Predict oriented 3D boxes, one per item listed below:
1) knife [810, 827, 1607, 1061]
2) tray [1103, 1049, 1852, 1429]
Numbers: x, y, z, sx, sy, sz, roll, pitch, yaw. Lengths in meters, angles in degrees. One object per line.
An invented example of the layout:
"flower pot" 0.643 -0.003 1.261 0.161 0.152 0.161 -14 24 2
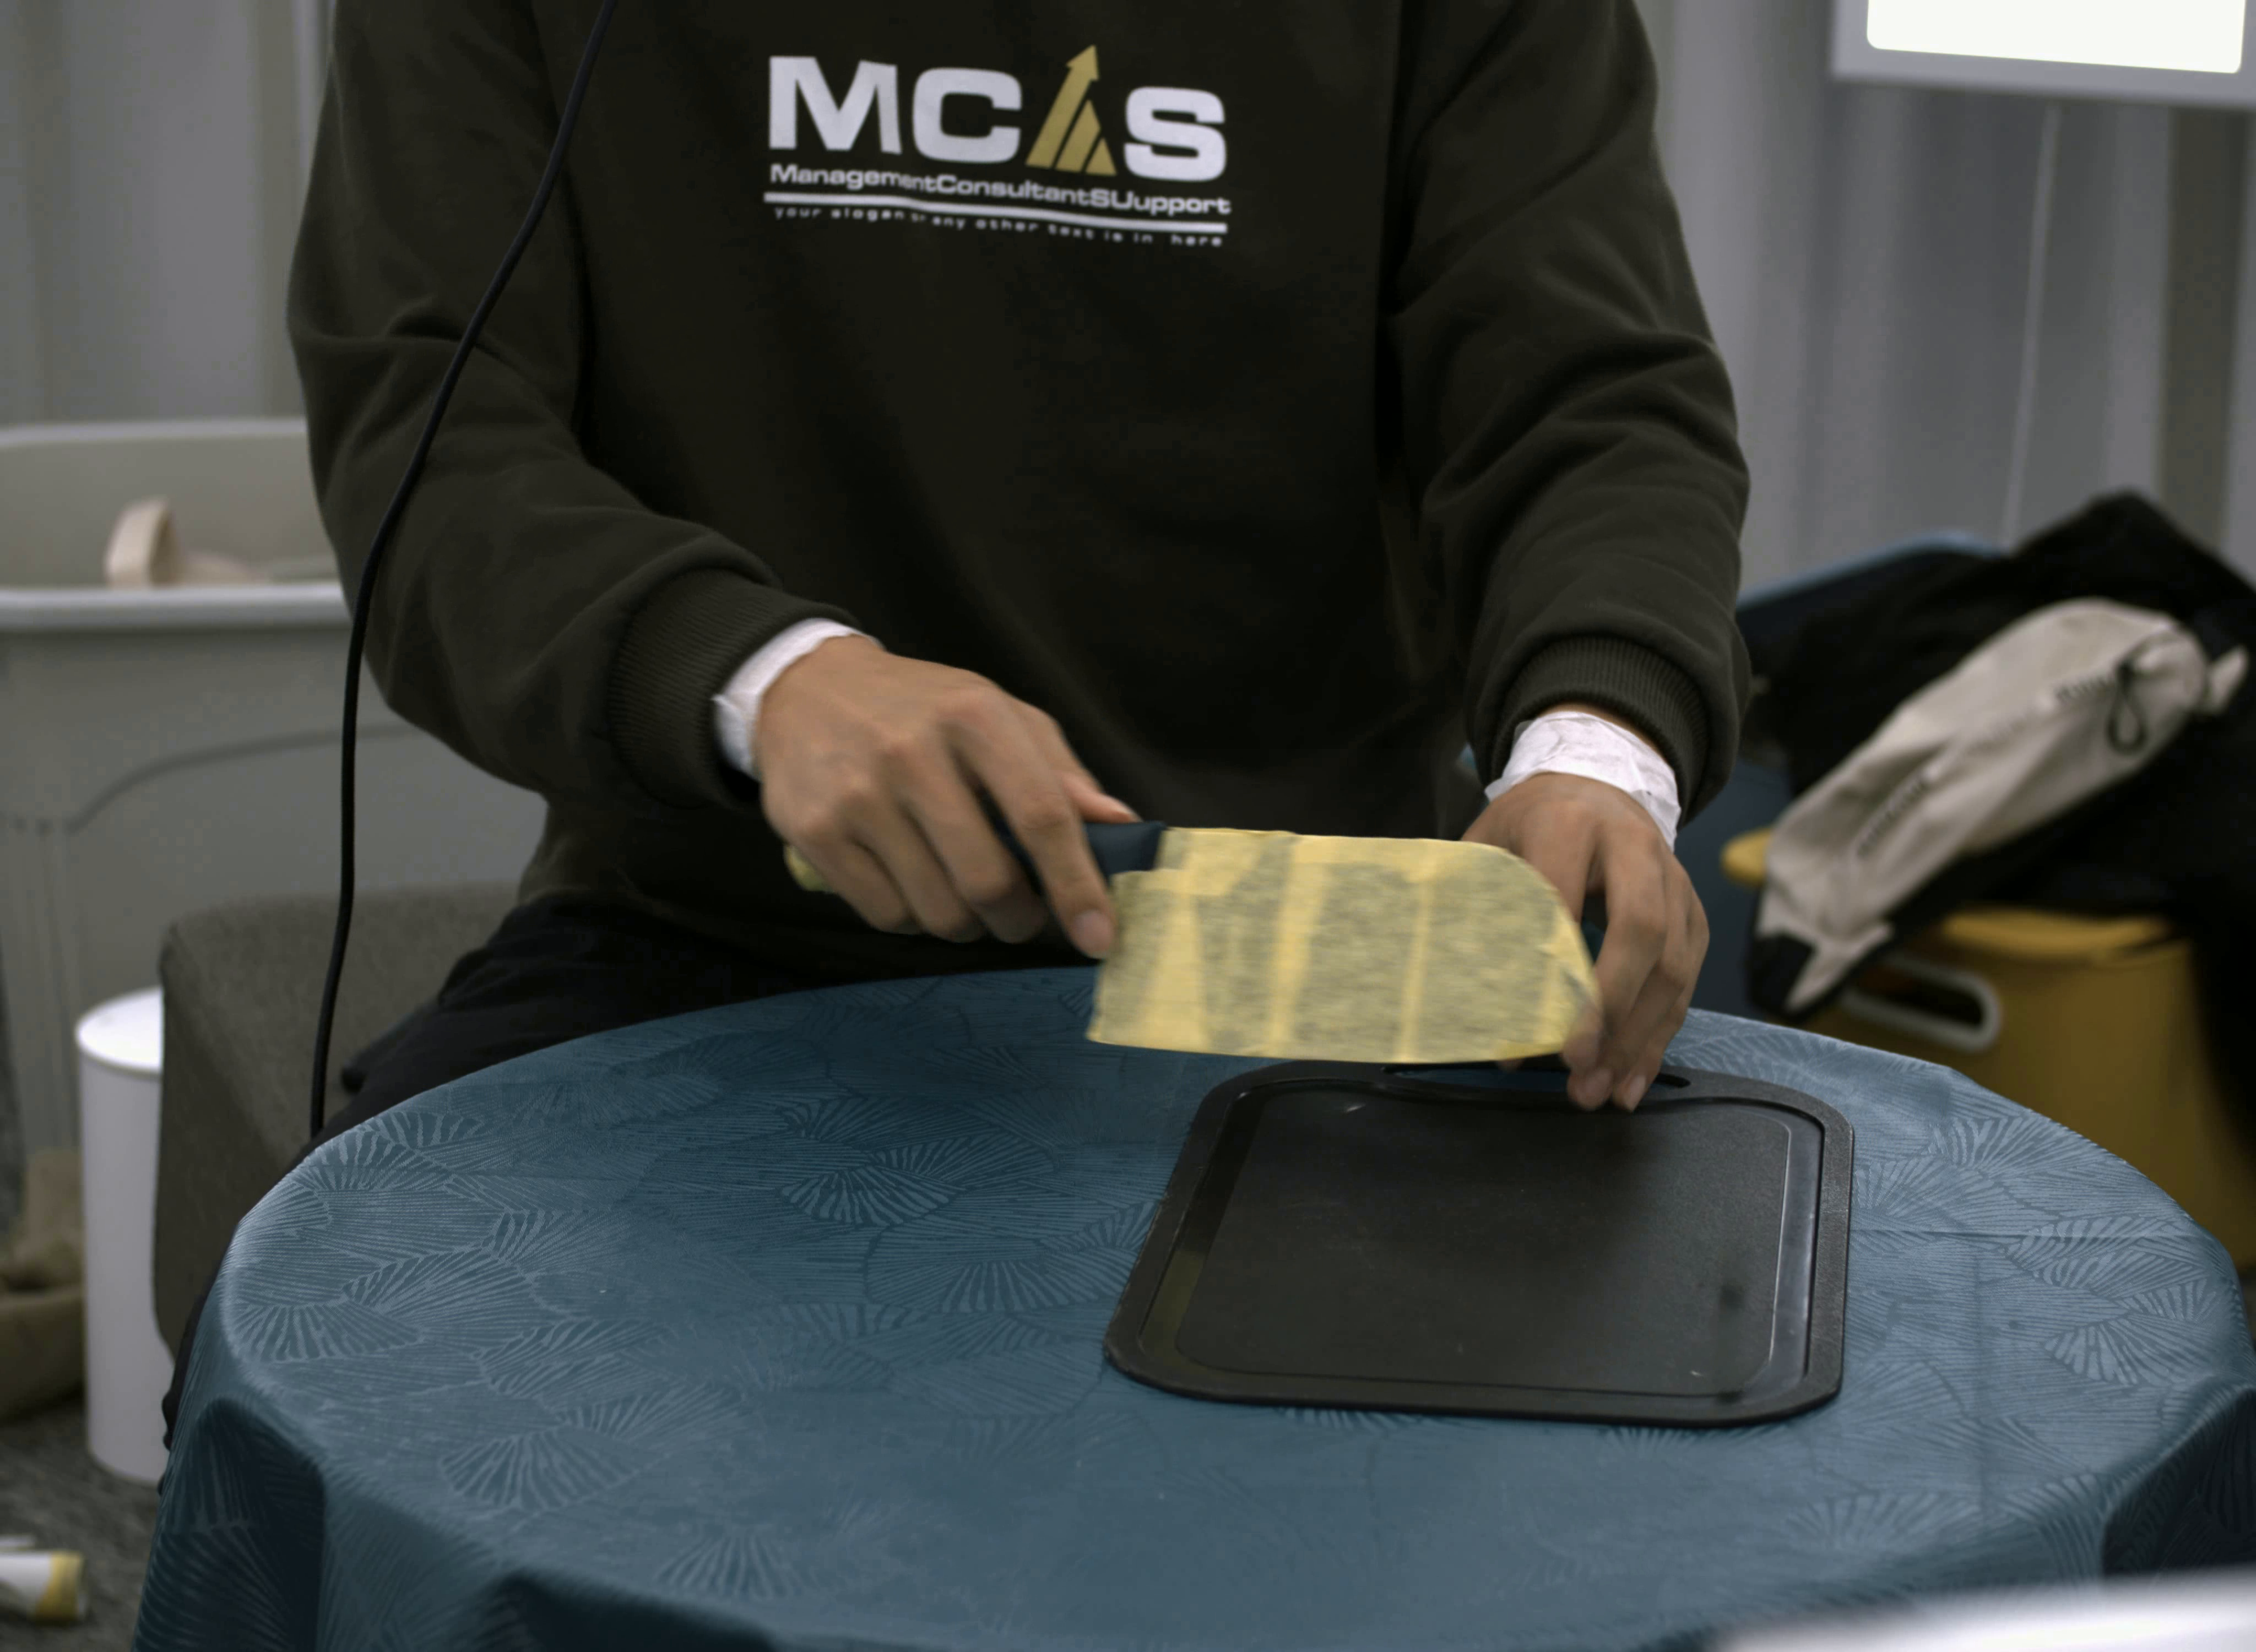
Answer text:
"knife" 0.021 0.035 1.662 0.286 0.081 0.027 5 -16 29
"tray" 0.112 0.117 1.598 0.210 0.010 0.324 3 16 8
